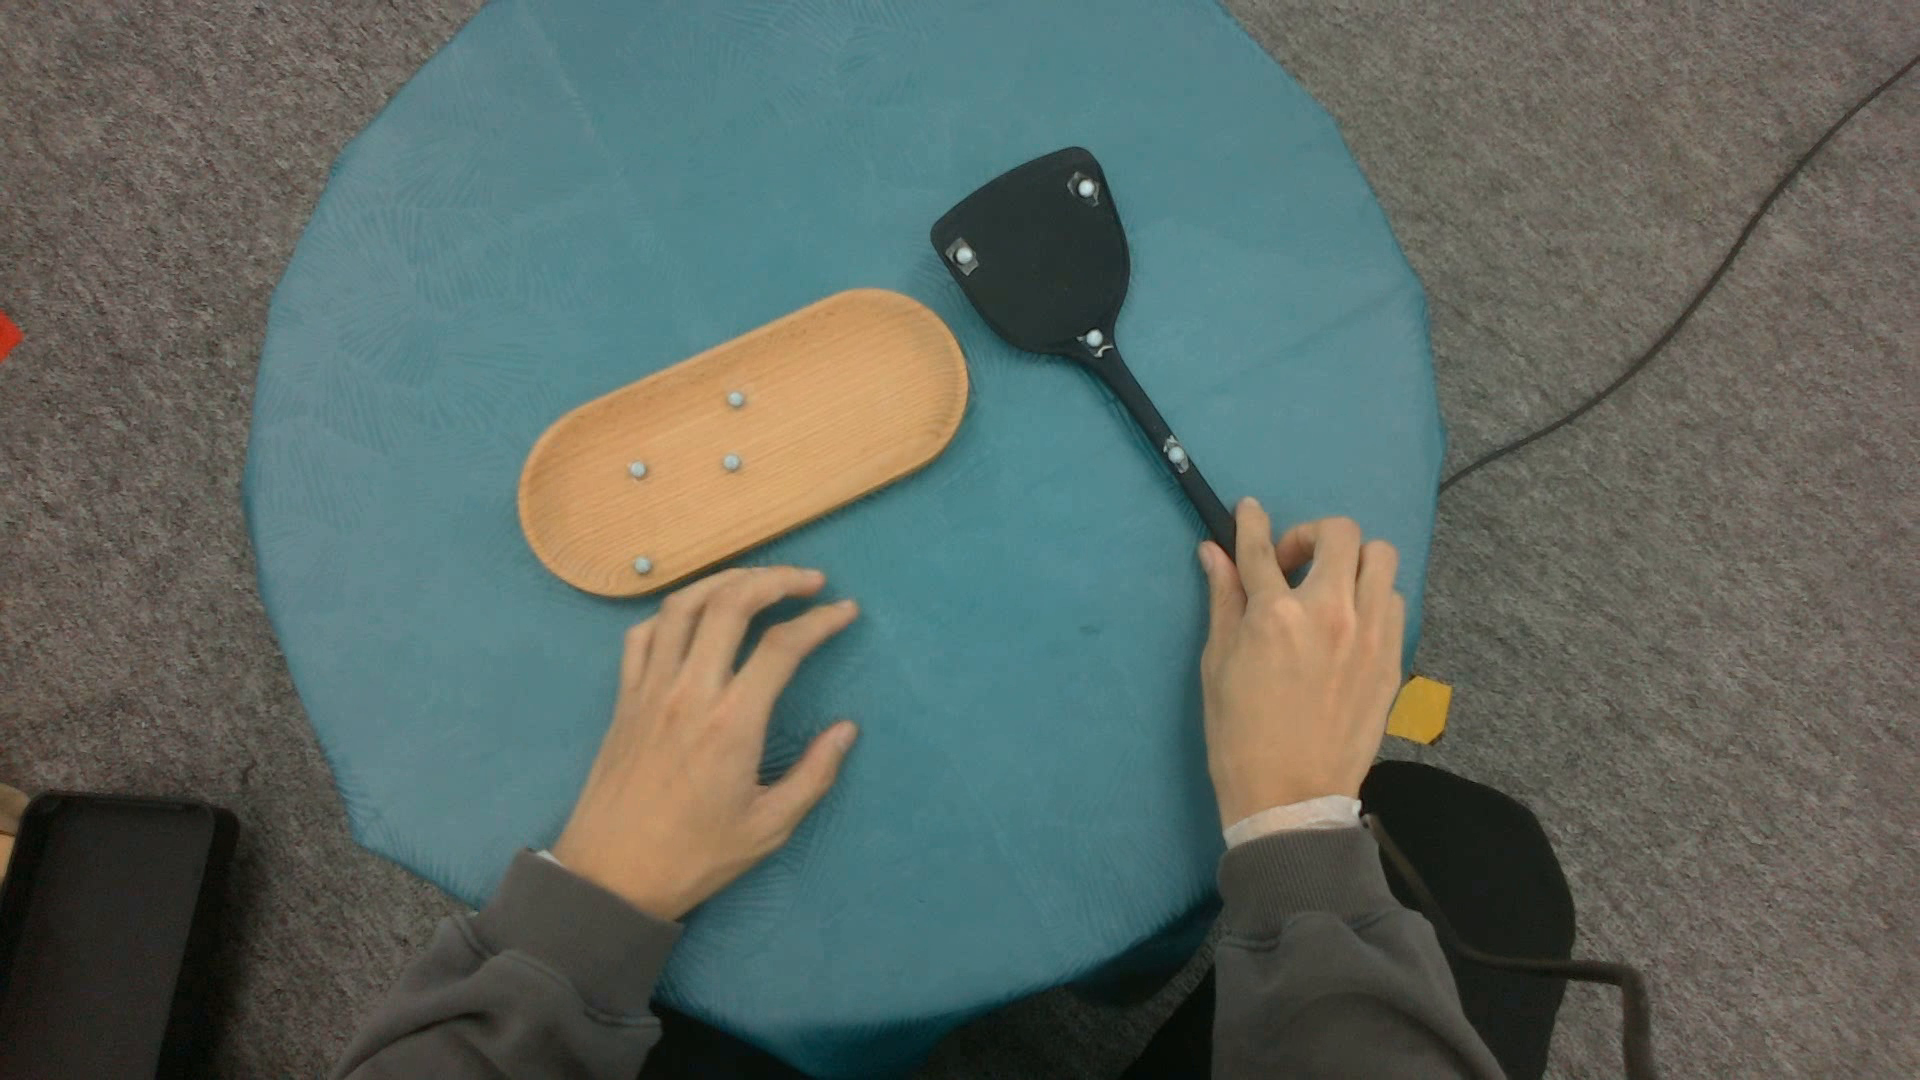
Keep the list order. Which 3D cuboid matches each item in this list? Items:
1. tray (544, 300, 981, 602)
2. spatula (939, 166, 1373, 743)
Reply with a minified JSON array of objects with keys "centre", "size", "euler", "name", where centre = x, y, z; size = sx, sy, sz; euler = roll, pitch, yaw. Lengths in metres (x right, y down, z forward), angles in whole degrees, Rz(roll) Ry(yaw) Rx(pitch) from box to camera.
[{"centre":[-0.098,-0.046,0.700],"size":[0.231,0.020,0.102],"euler":[-25,78,-8],"name":"tray"},{"centre":[0.111,-0.039,0.689],"size":[0.100,0.040,0.326],"euler":[-31,78,-10],"name":"spatula"}]
